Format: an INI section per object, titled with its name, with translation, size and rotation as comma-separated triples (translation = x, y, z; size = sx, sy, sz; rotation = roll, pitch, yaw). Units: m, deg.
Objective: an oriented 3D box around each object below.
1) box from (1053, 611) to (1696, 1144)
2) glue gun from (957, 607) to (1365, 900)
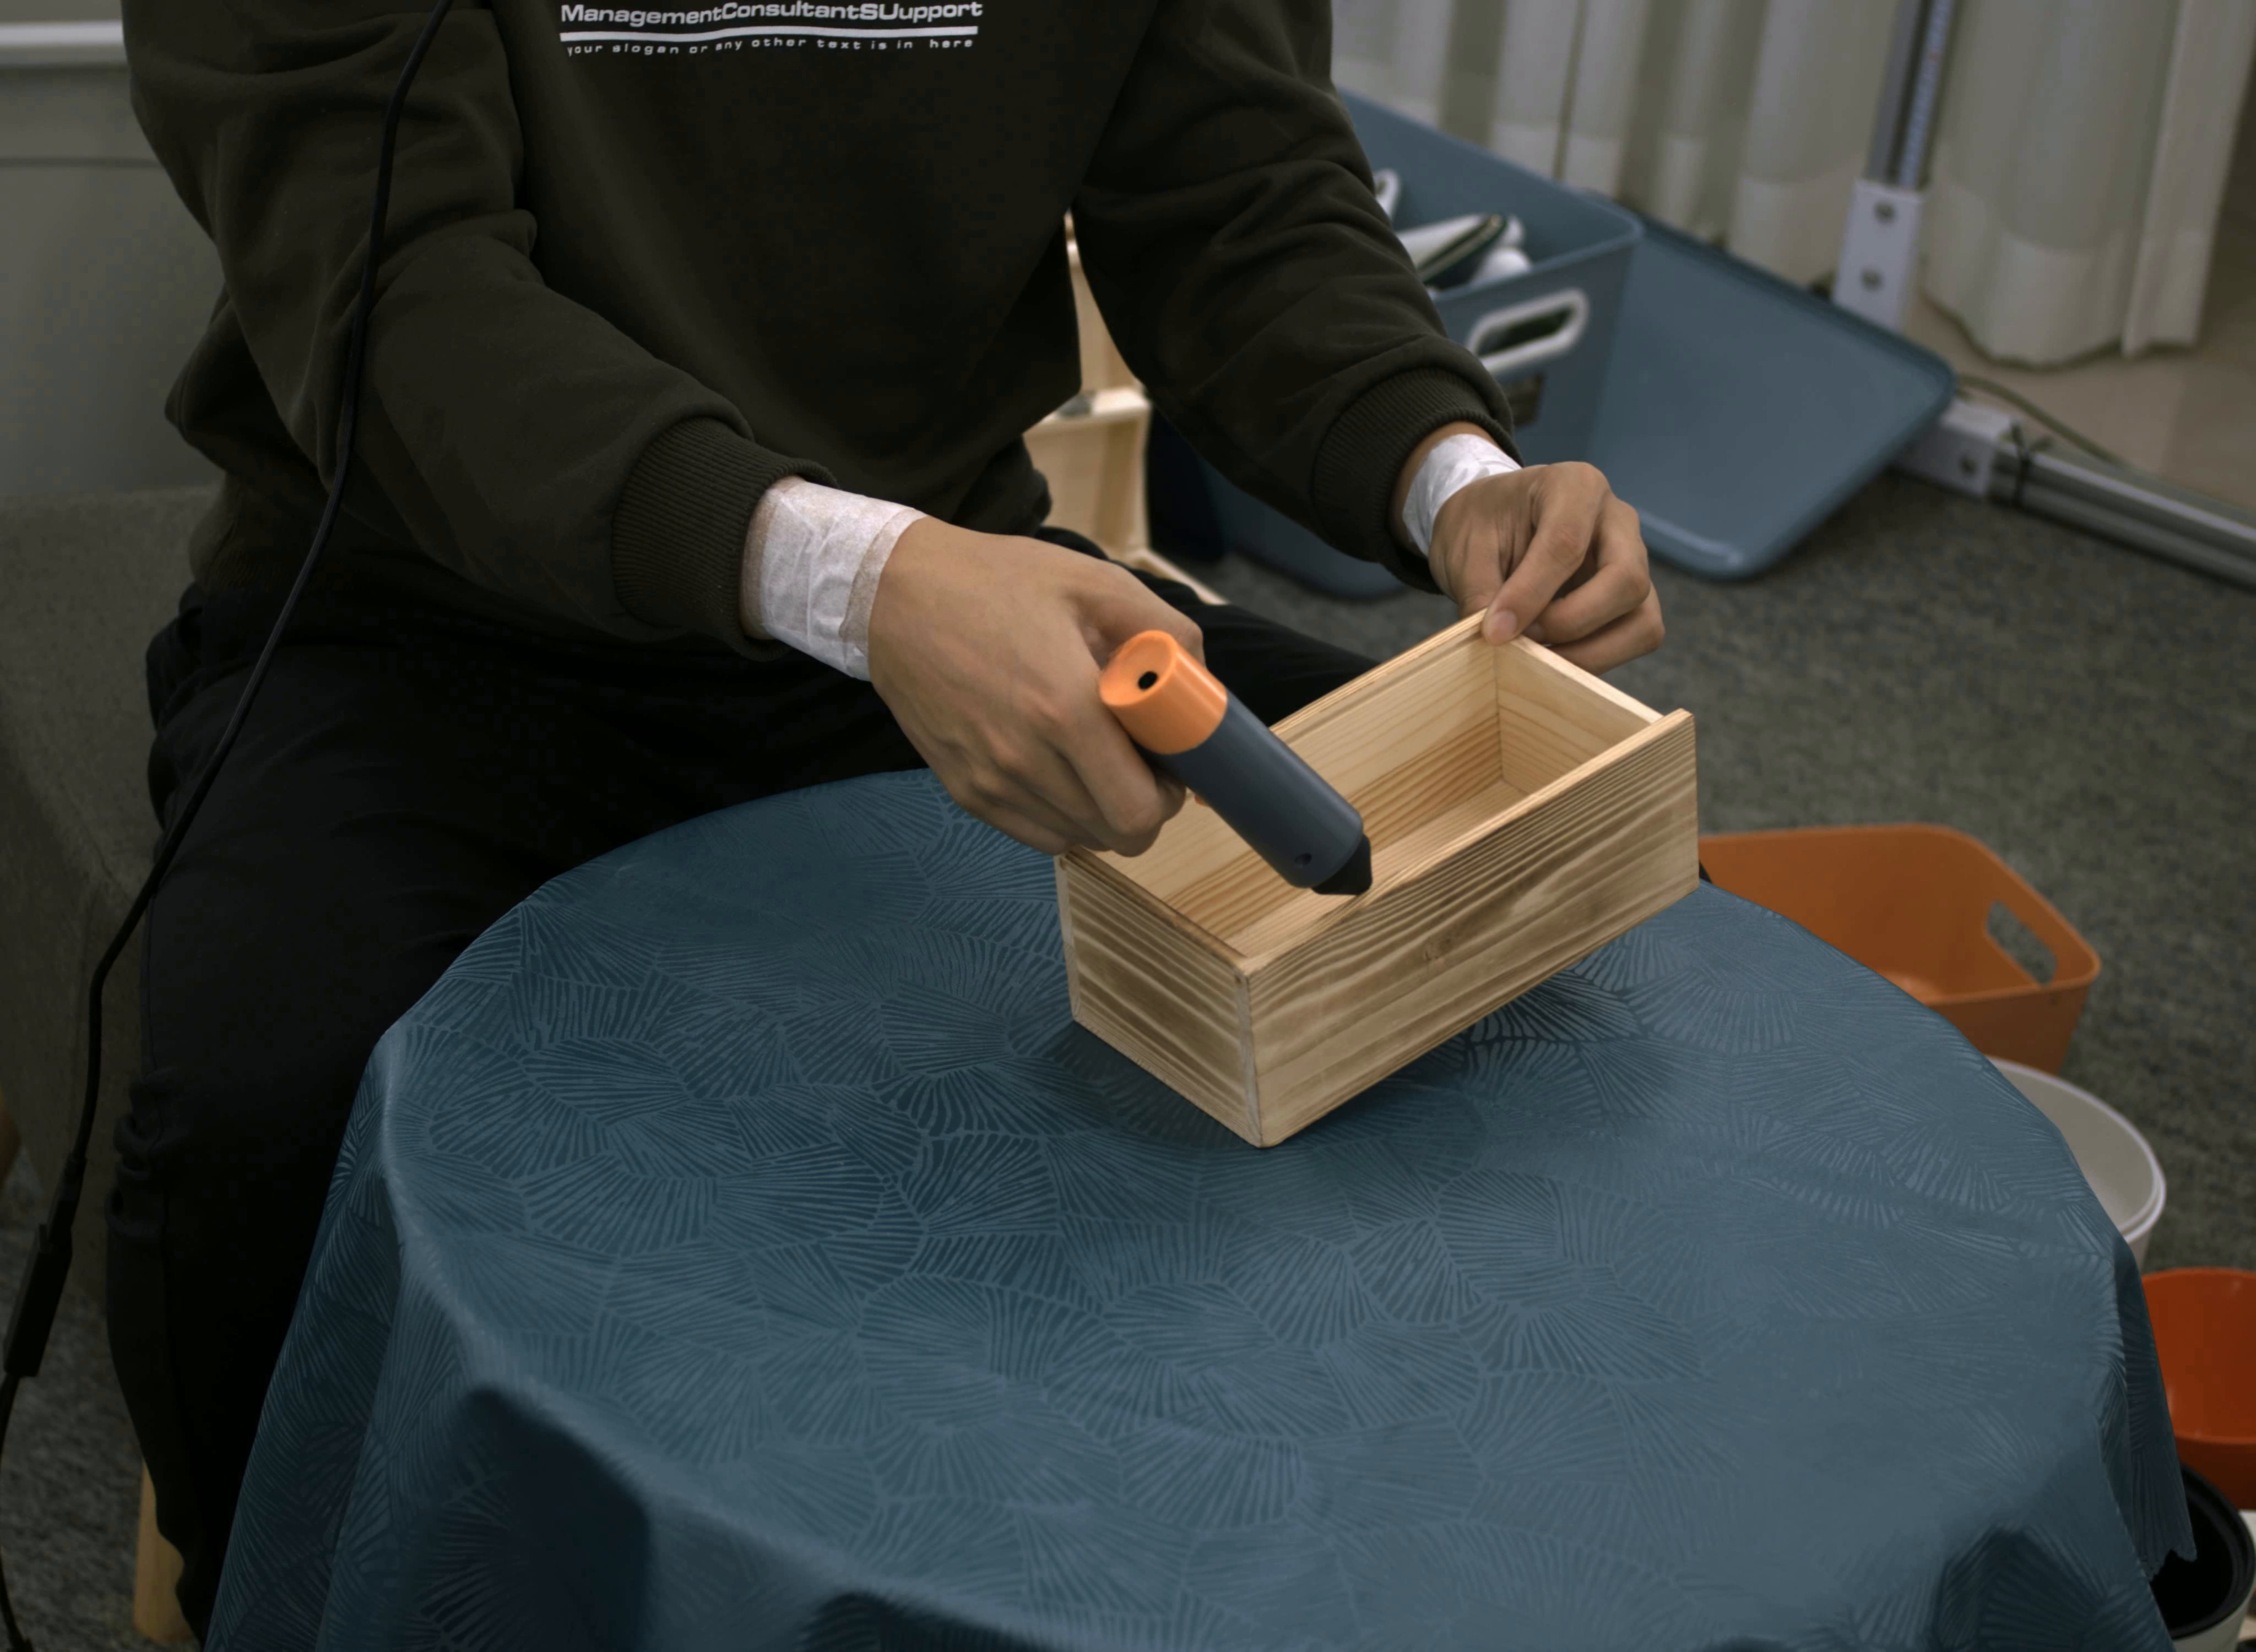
[box]
translation = 0.090, 0.015, 1.905
size = 0.211, 0.080, 0.108
rotation = -29, 41, -28
[glue gun]
translation = 0.012, -0.026, 1.844
size = 0.141, 0.117, 0.041
rotation = 21, 68, 46
